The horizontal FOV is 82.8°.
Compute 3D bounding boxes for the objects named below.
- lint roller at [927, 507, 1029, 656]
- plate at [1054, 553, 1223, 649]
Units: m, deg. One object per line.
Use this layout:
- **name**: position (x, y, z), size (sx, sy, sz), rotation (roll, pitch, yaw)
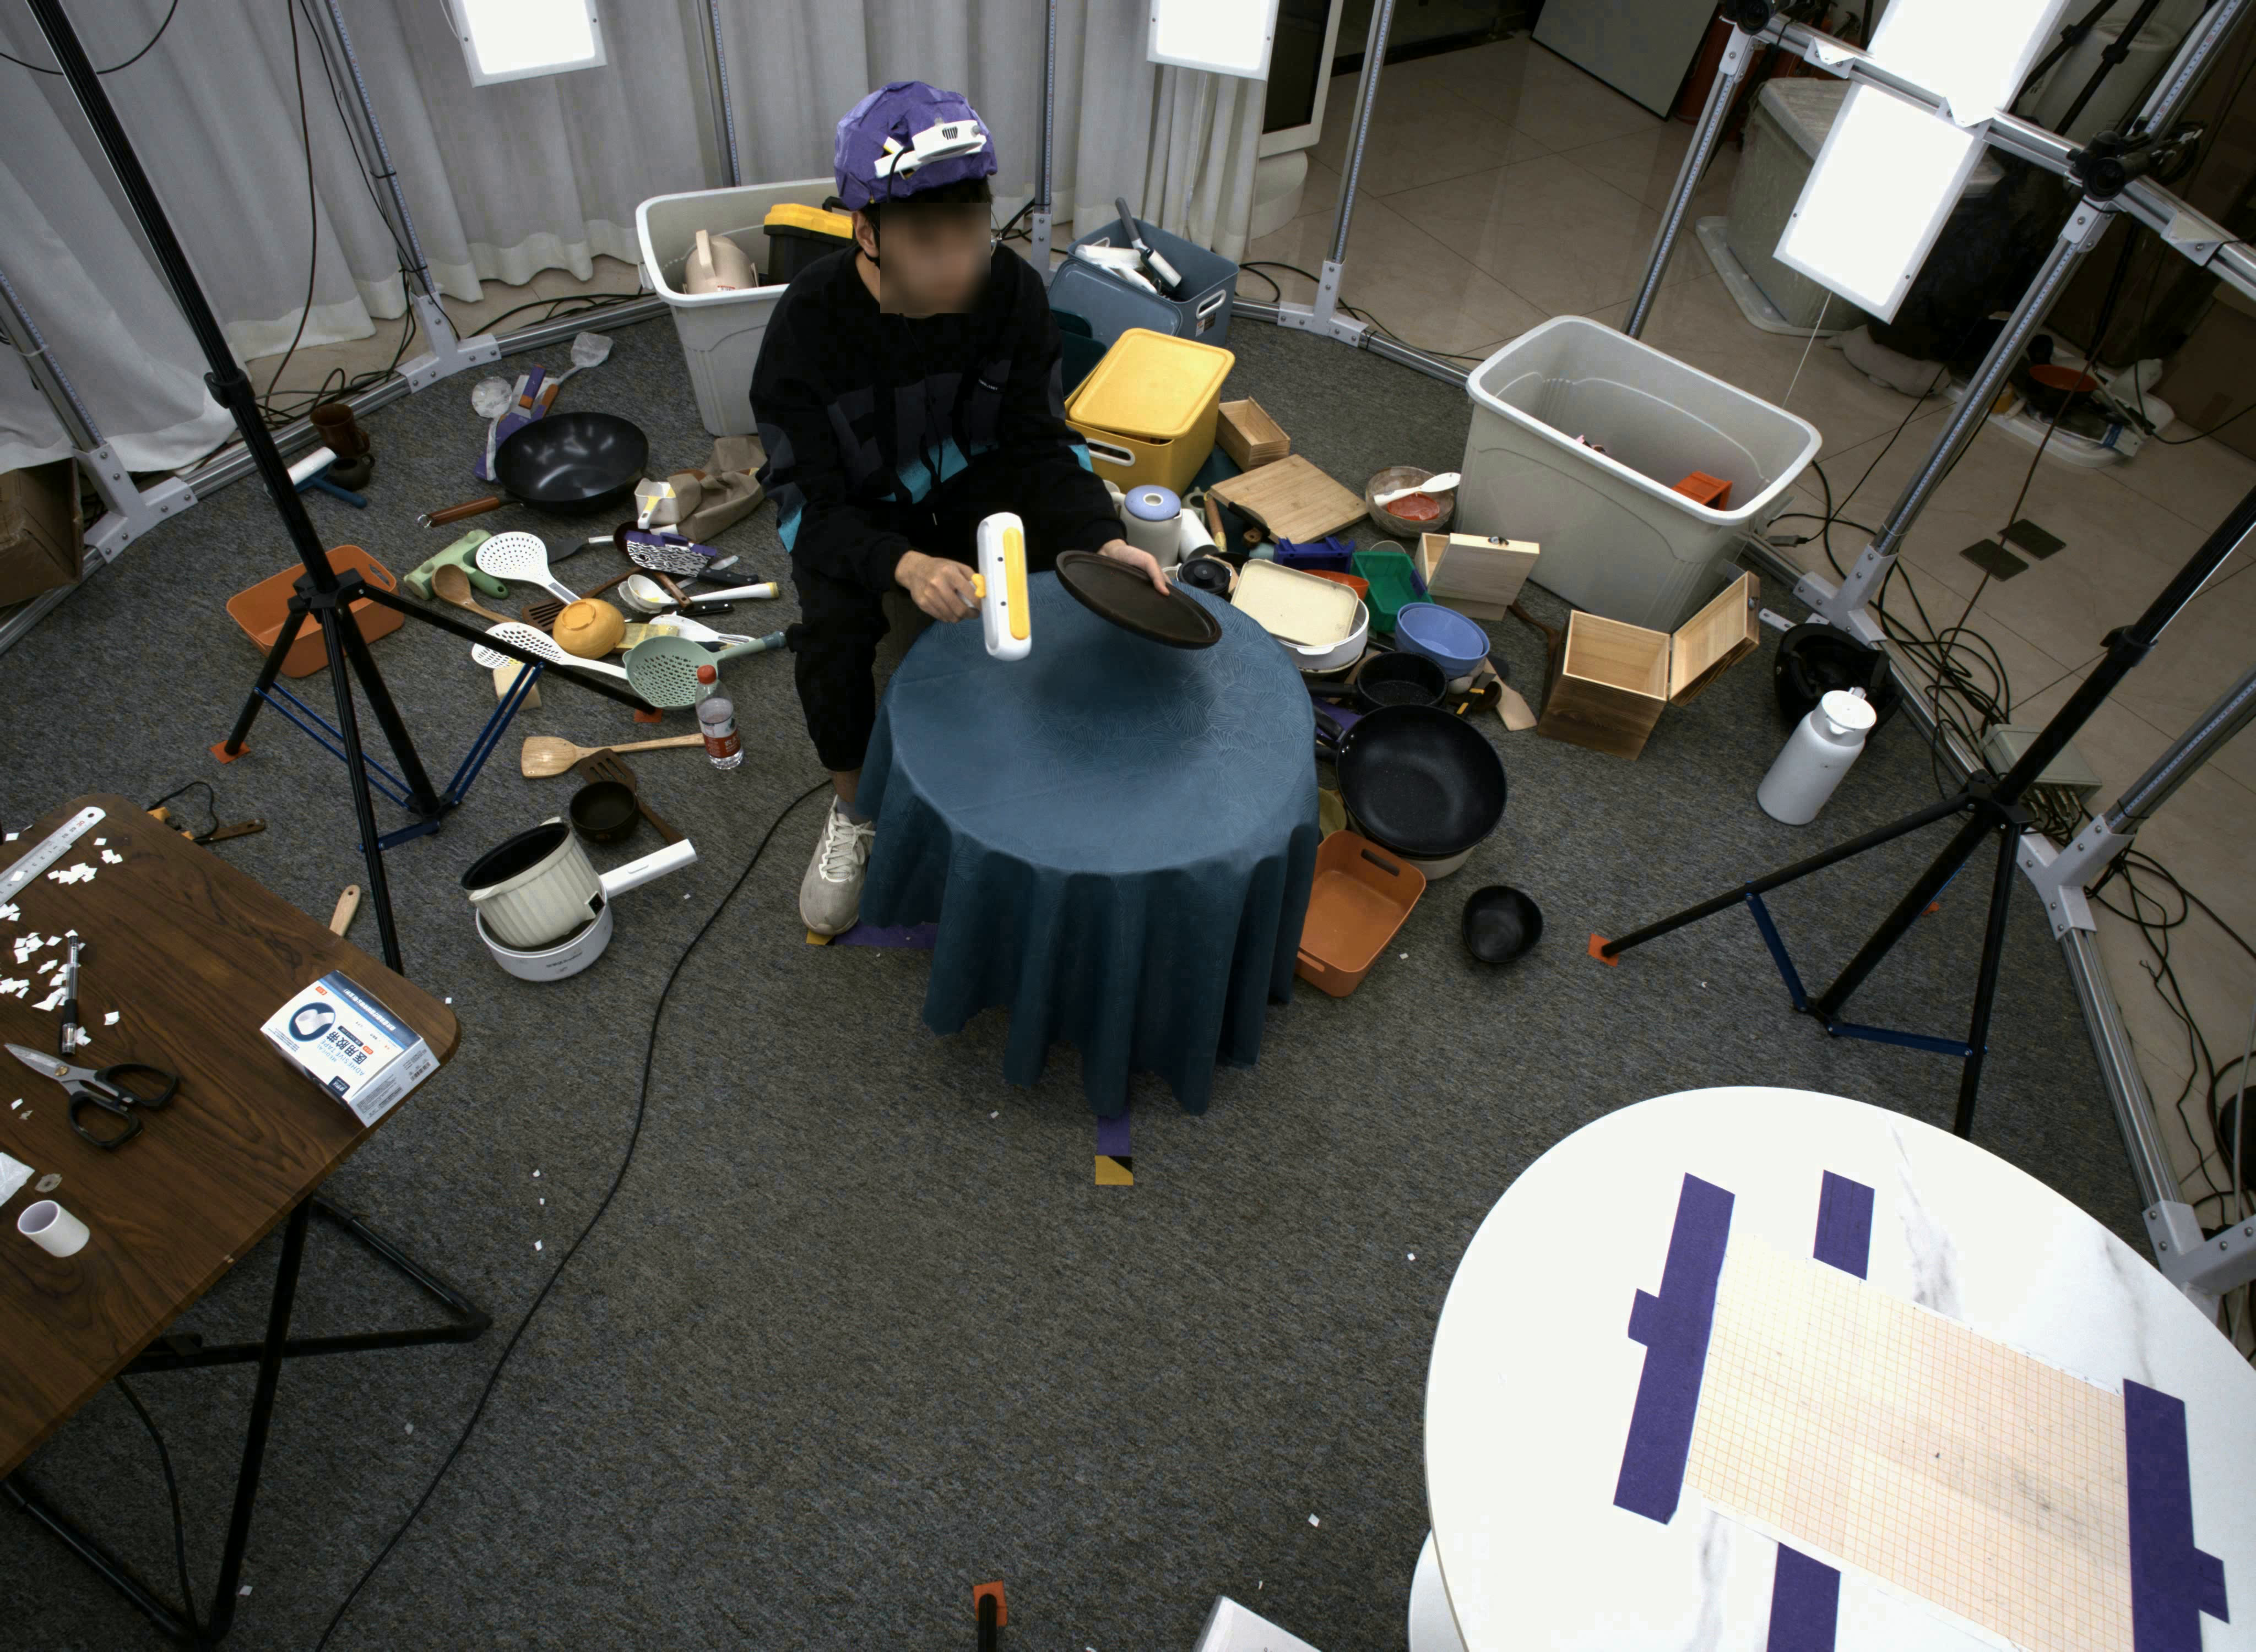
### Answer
- **lint roller**: position (-0.204, -0.314, 1.730), size (0.074, 0.192, 0.193), rotation (-9, 89, -34)
- **plate**: position (0.014, -0.313, 1.785), size (0.253, 0.028, 0.259), rotation (22, 23, -10)
